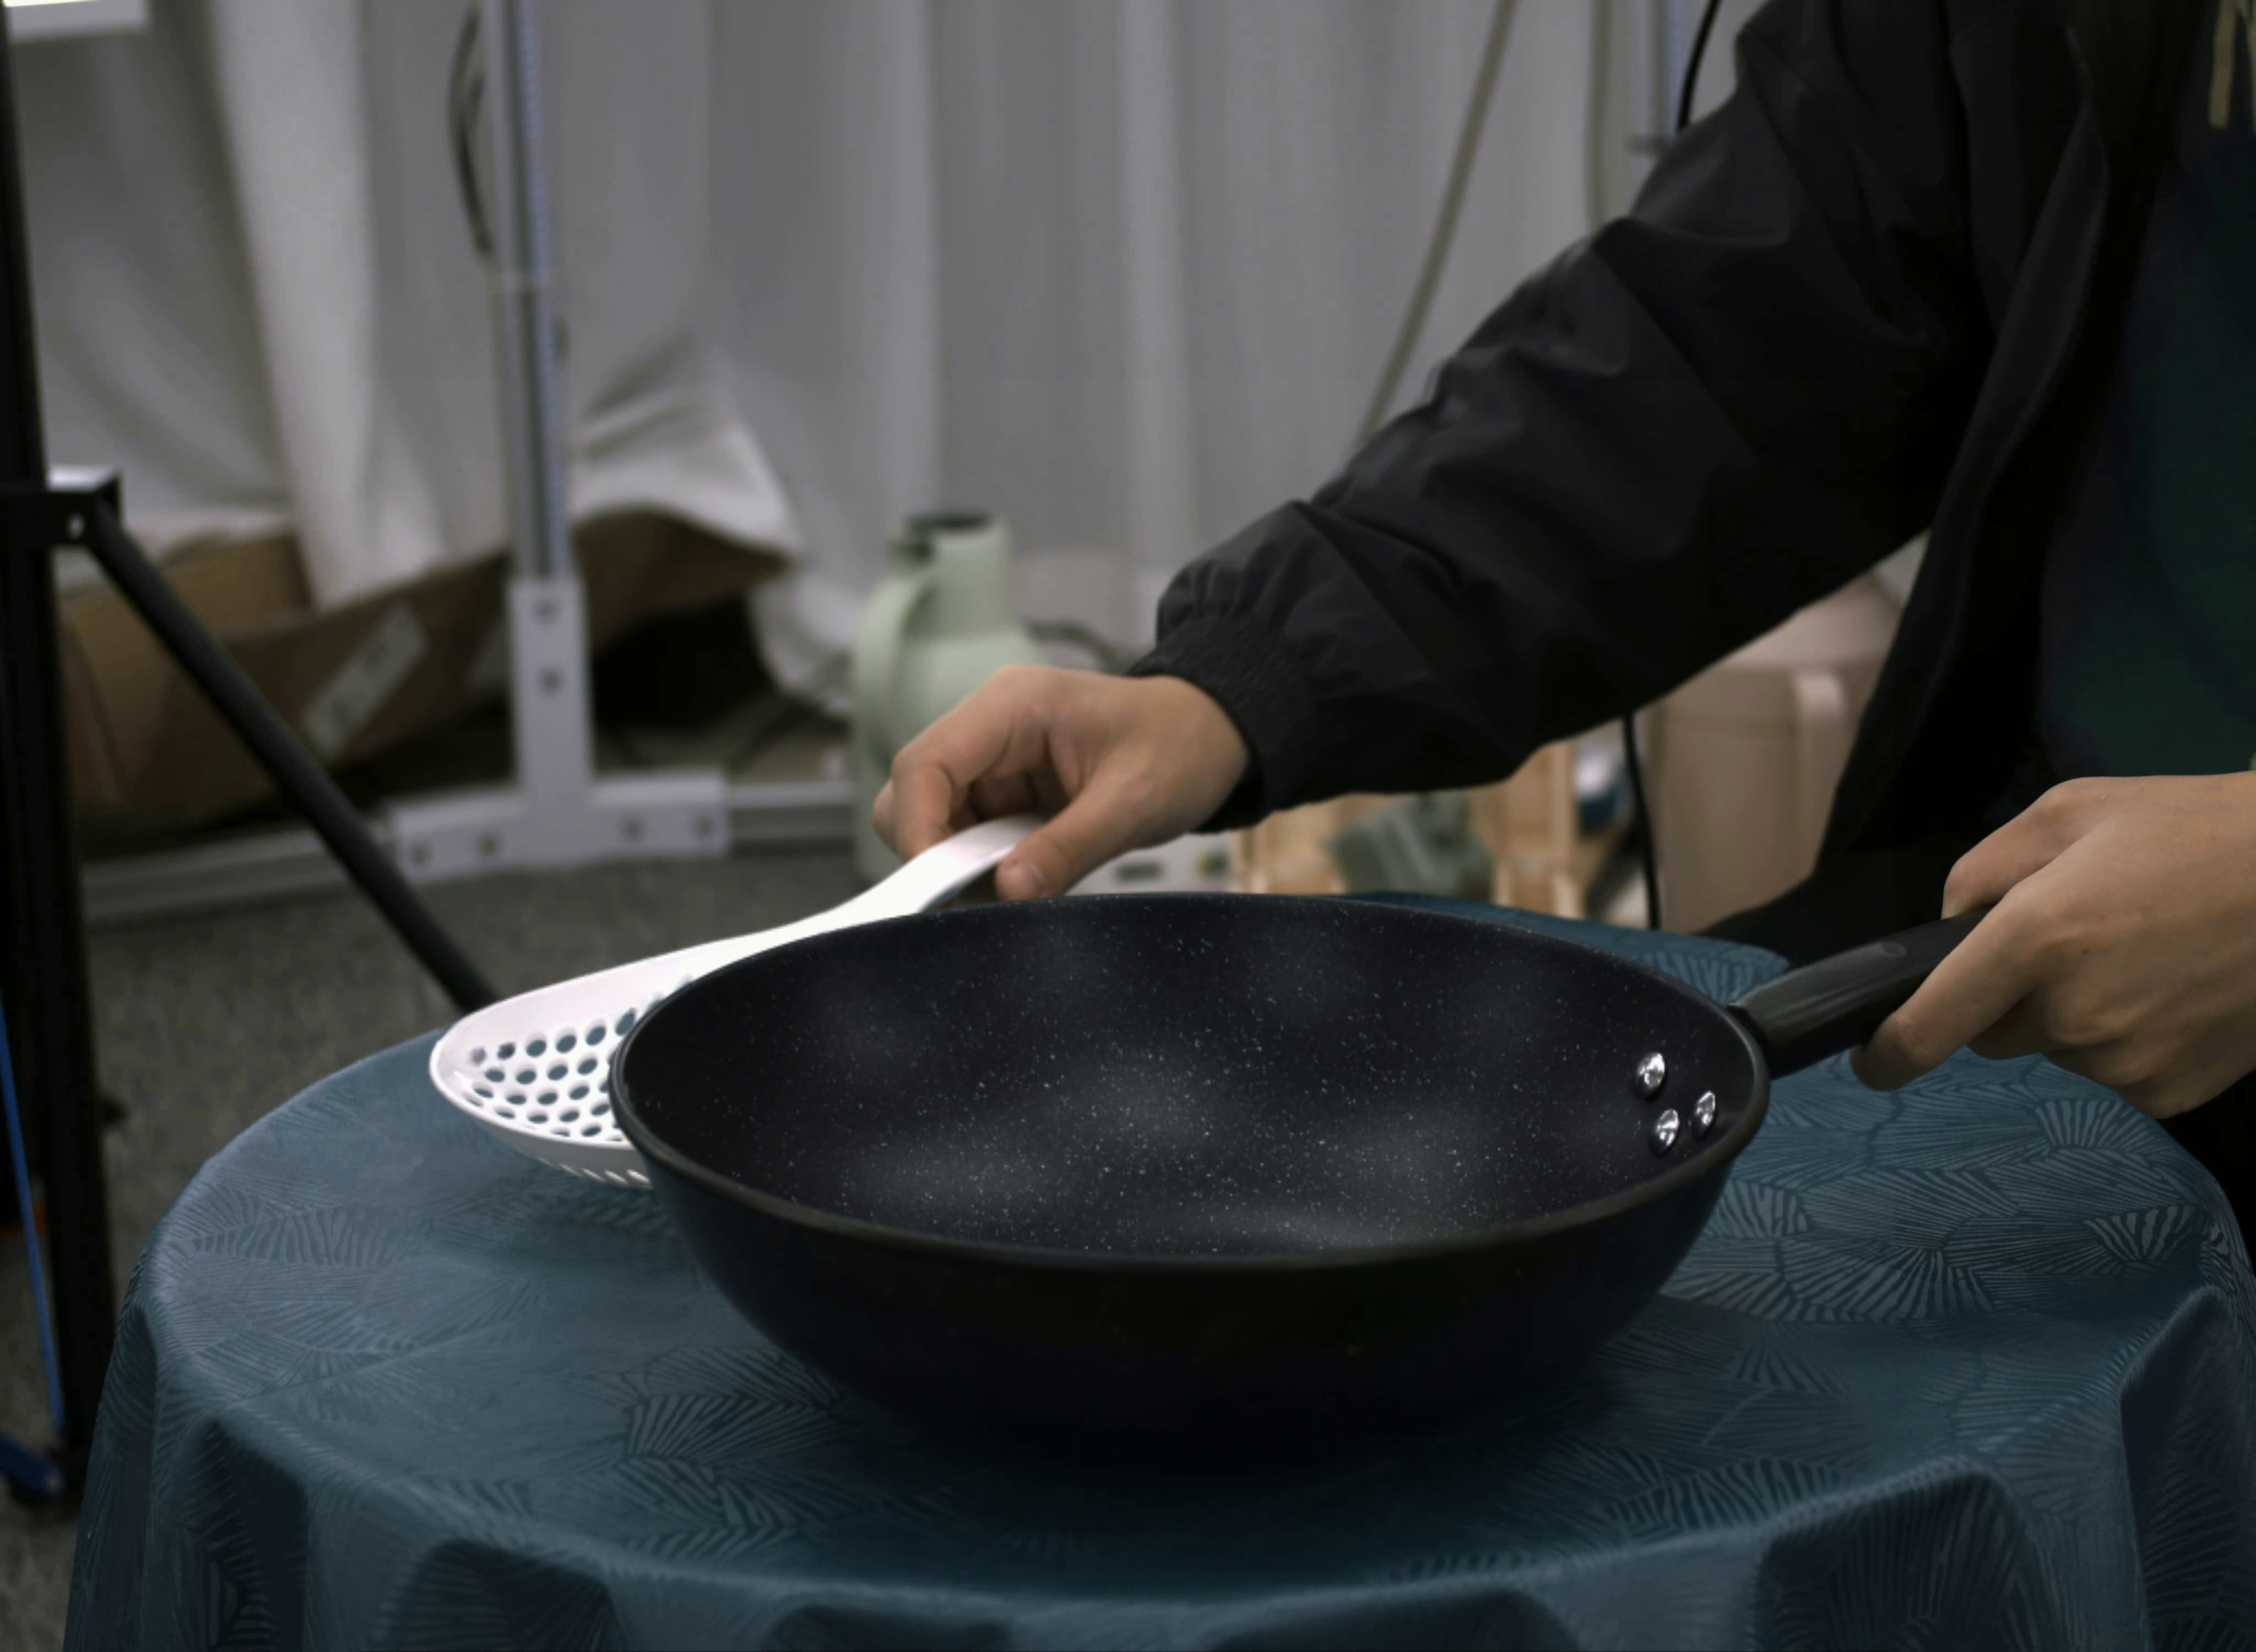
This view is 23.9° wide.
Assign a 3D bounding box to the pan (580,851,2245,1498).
[{"bbox_3d":[0.089,0.086,1.433,0.469,0.111,0.315,-6,18,-16],"label":"pan"}]

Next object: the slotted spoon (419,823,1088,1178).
[{"bbox_3d":[-0.090,0.043,1.678,0.139,0.050,0.343,7,24,27],"label":"slotted spoon"}]
